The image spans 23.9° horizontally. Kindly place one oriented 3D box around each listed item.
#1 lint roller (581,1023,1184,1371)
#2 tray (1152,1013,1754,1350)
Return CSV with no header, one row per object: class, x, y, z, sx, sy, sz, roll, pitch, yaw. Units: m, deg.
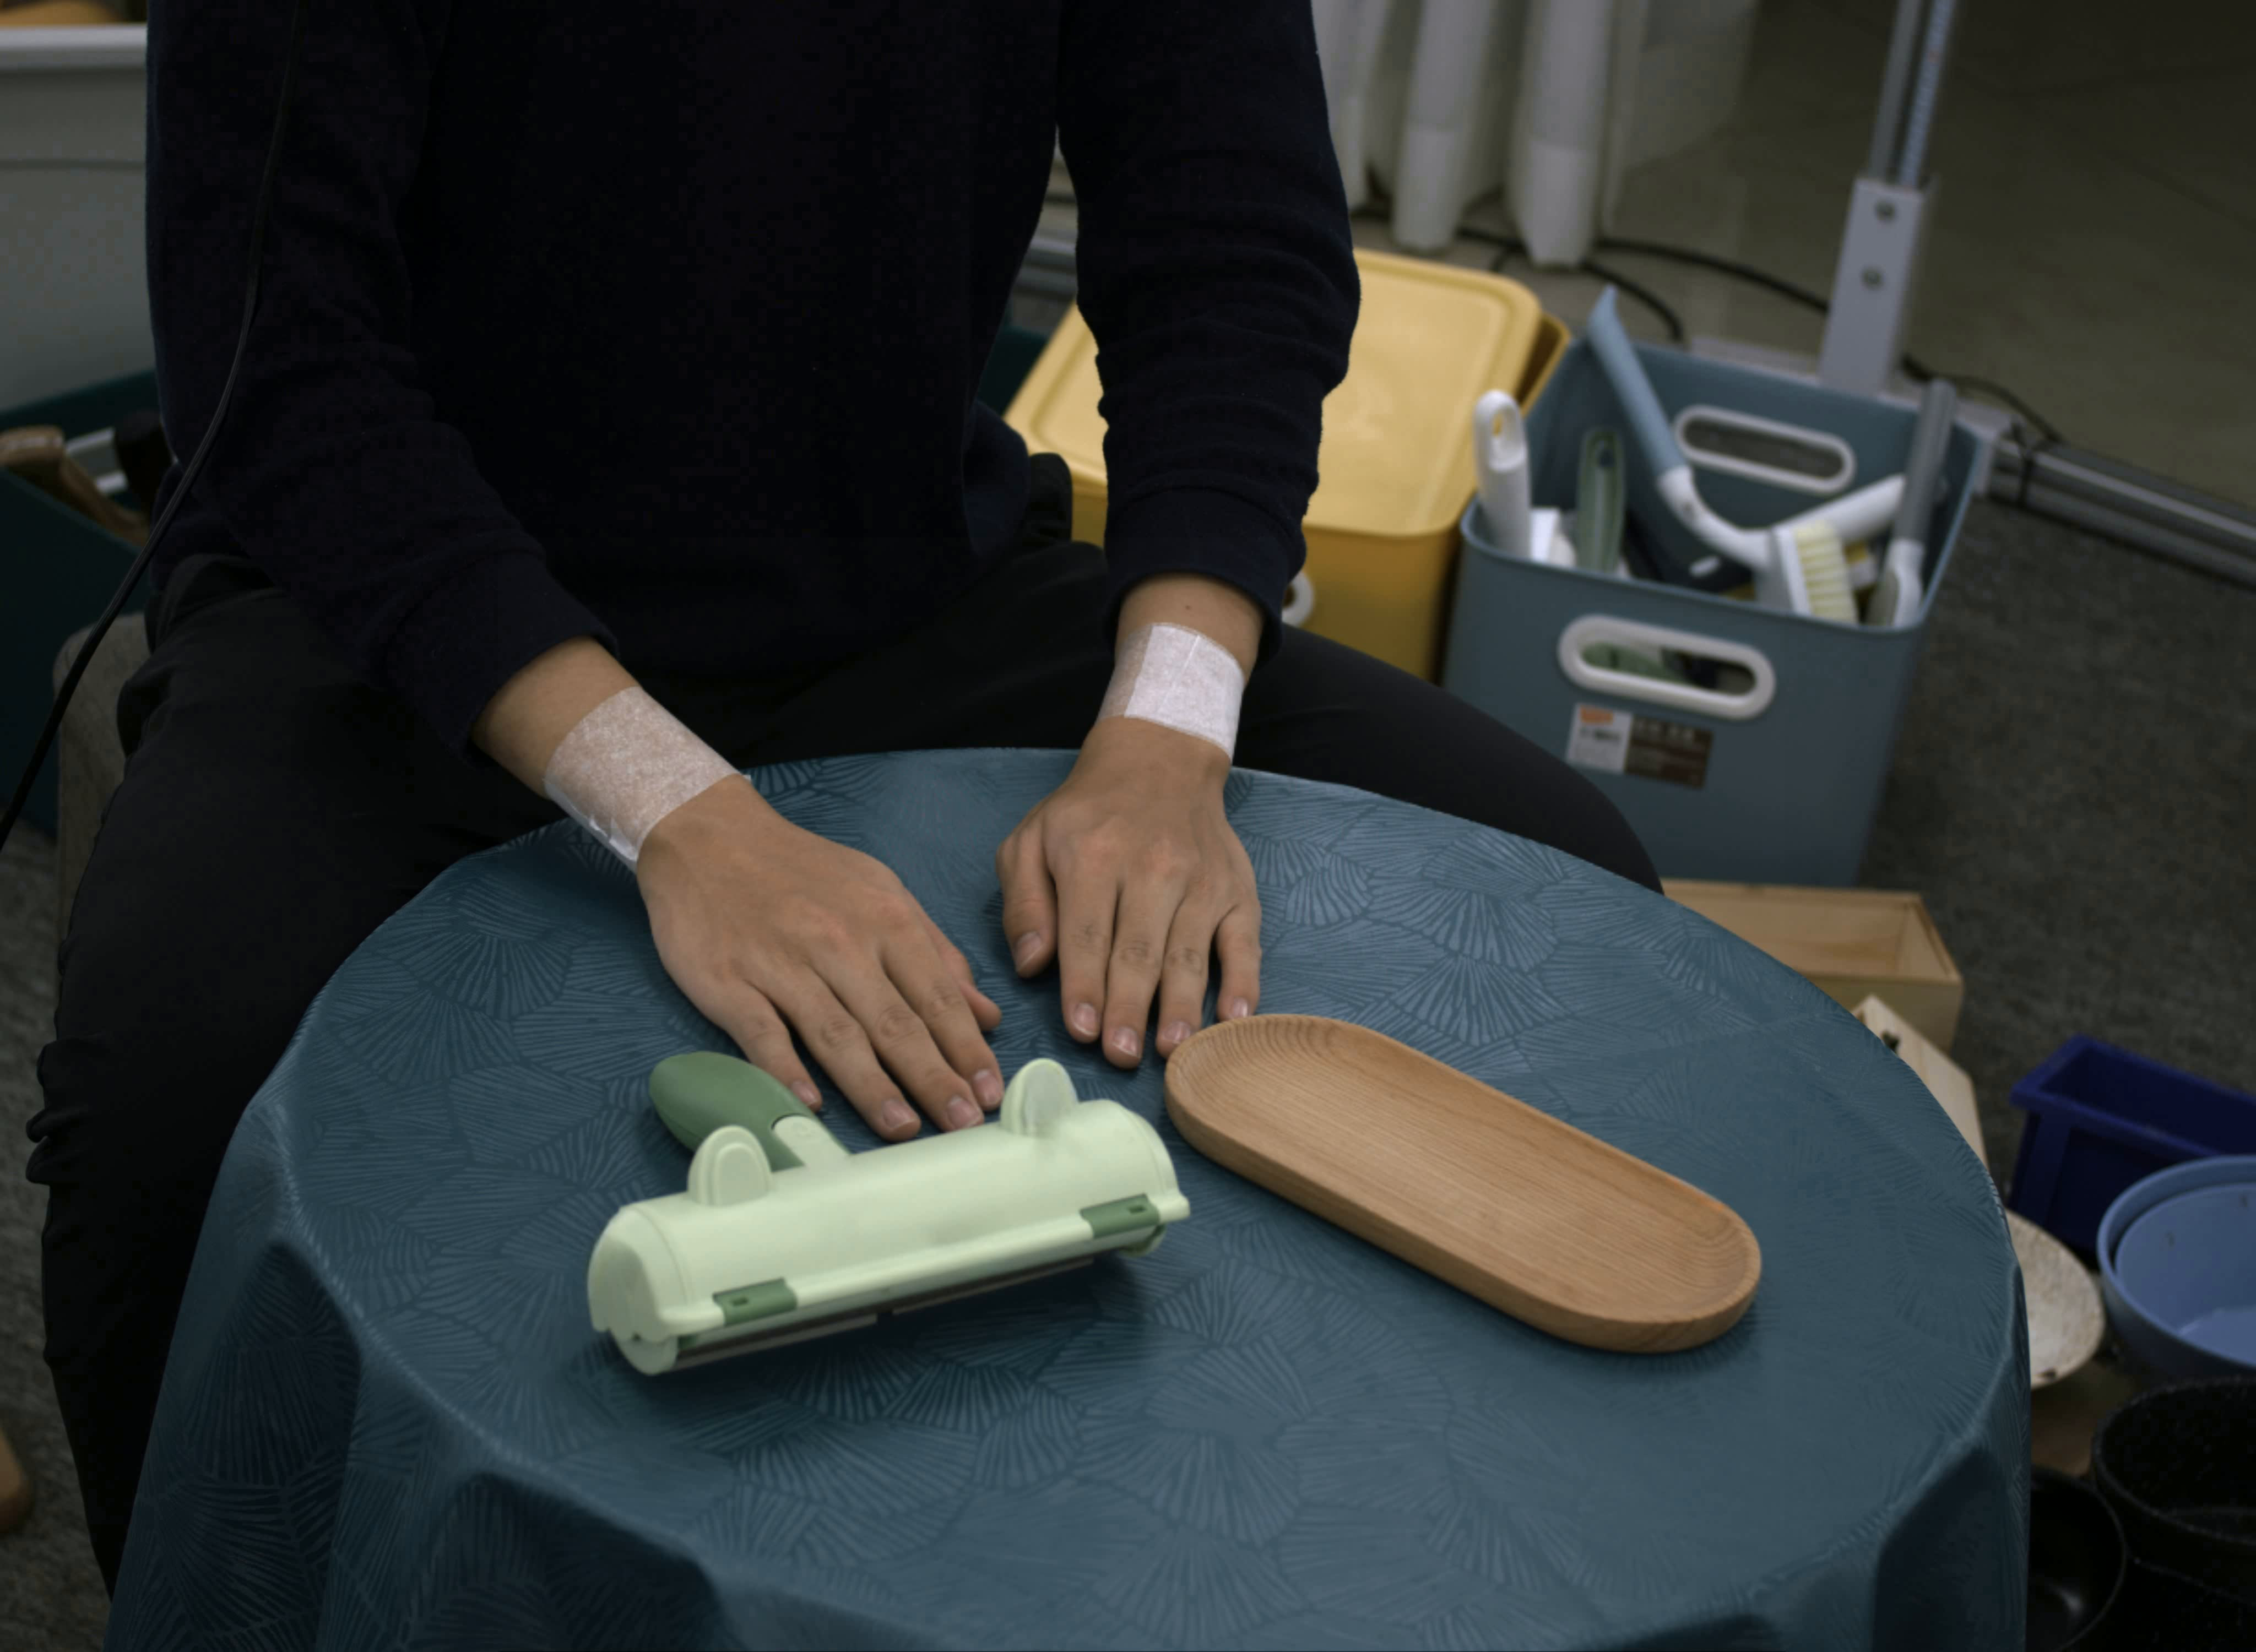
lint roller,-0.106,0.095,1.740,0.197,0.082,0.185,-11,37,-32
tray,0.109,0.120,1.817,0.233,0.020,0.101,24,31,33
